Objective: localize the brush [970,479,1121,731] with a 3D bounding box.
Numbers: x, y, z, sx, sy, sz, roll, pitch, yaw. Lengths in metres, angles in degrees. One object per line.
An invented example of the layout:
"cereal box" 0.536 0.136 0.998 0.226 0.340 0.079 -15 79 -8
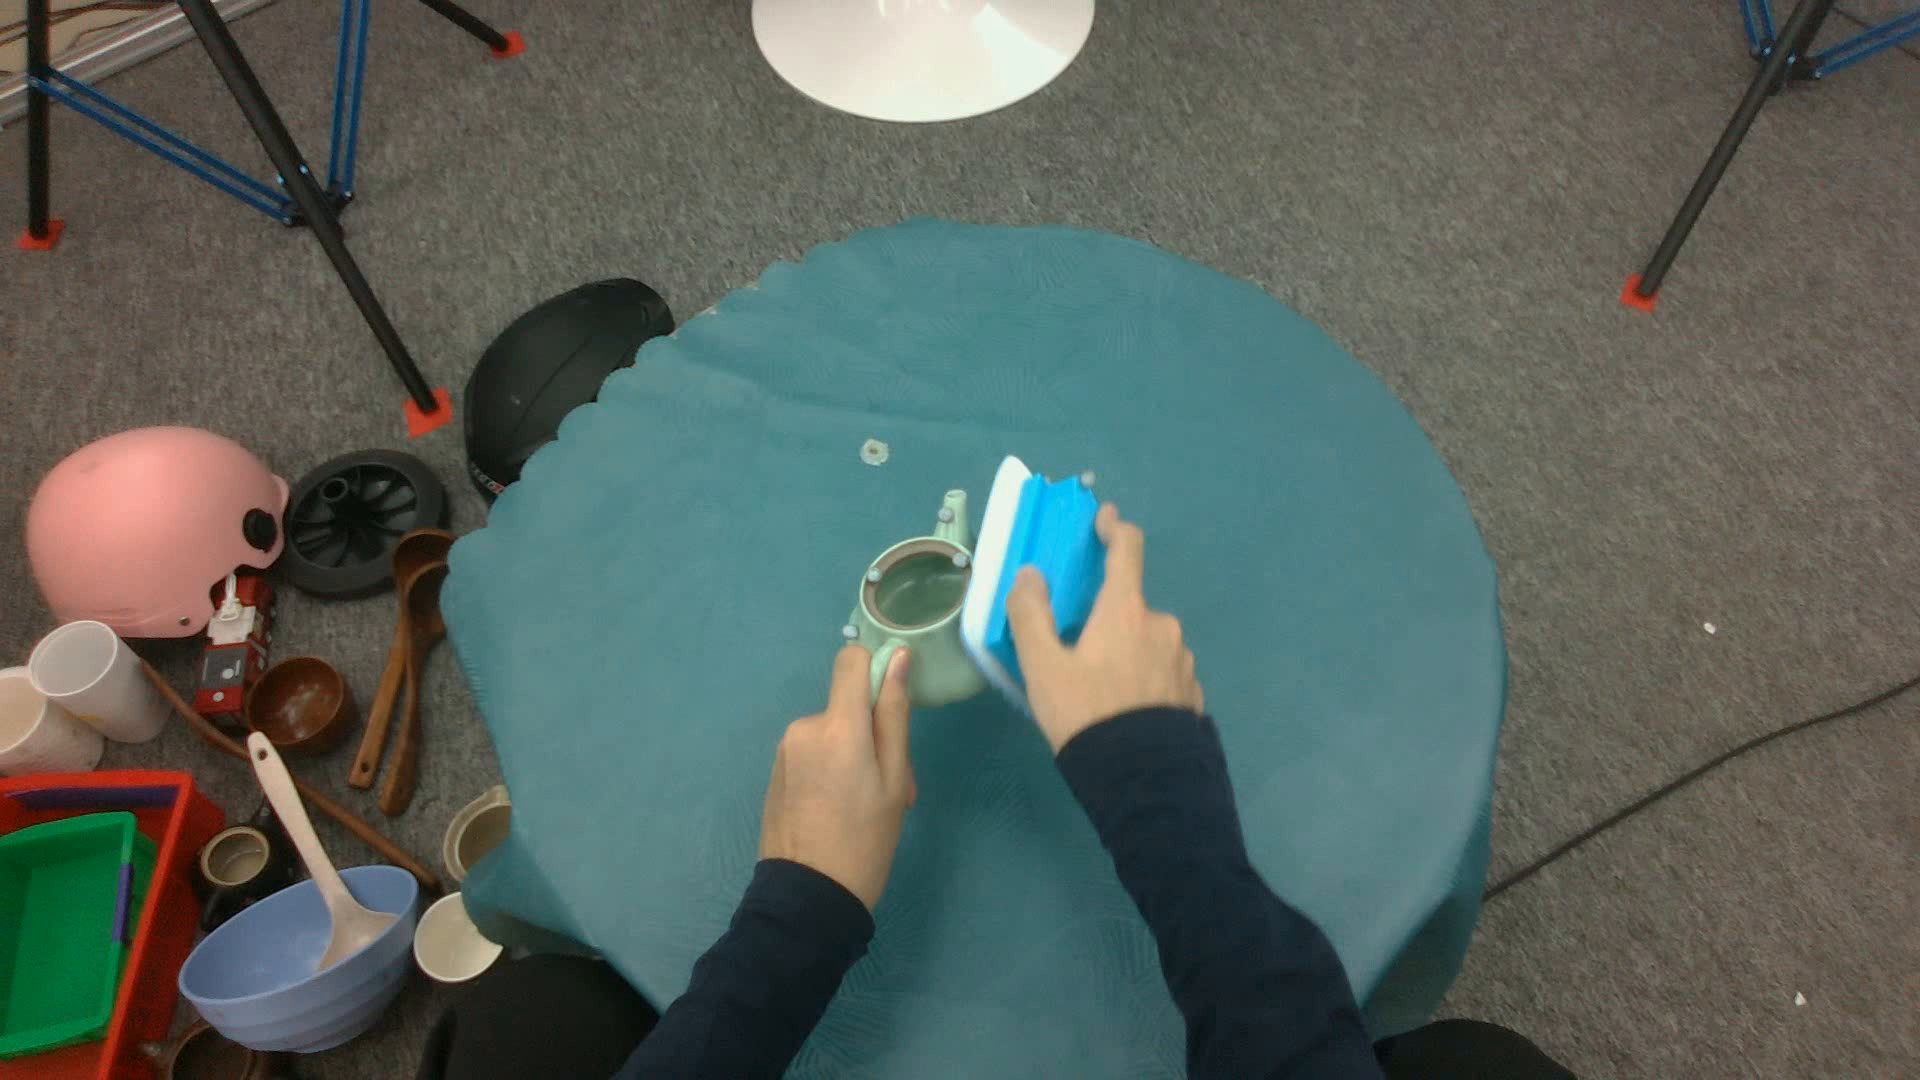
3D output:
"brush" 0.054 0.024 0.715 0.055 0.084 0.144 -29 28 30

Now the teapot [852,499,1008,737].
"teapot" -0.015 0.047 0.723 0.096 0.061 0.137 5 52 22
